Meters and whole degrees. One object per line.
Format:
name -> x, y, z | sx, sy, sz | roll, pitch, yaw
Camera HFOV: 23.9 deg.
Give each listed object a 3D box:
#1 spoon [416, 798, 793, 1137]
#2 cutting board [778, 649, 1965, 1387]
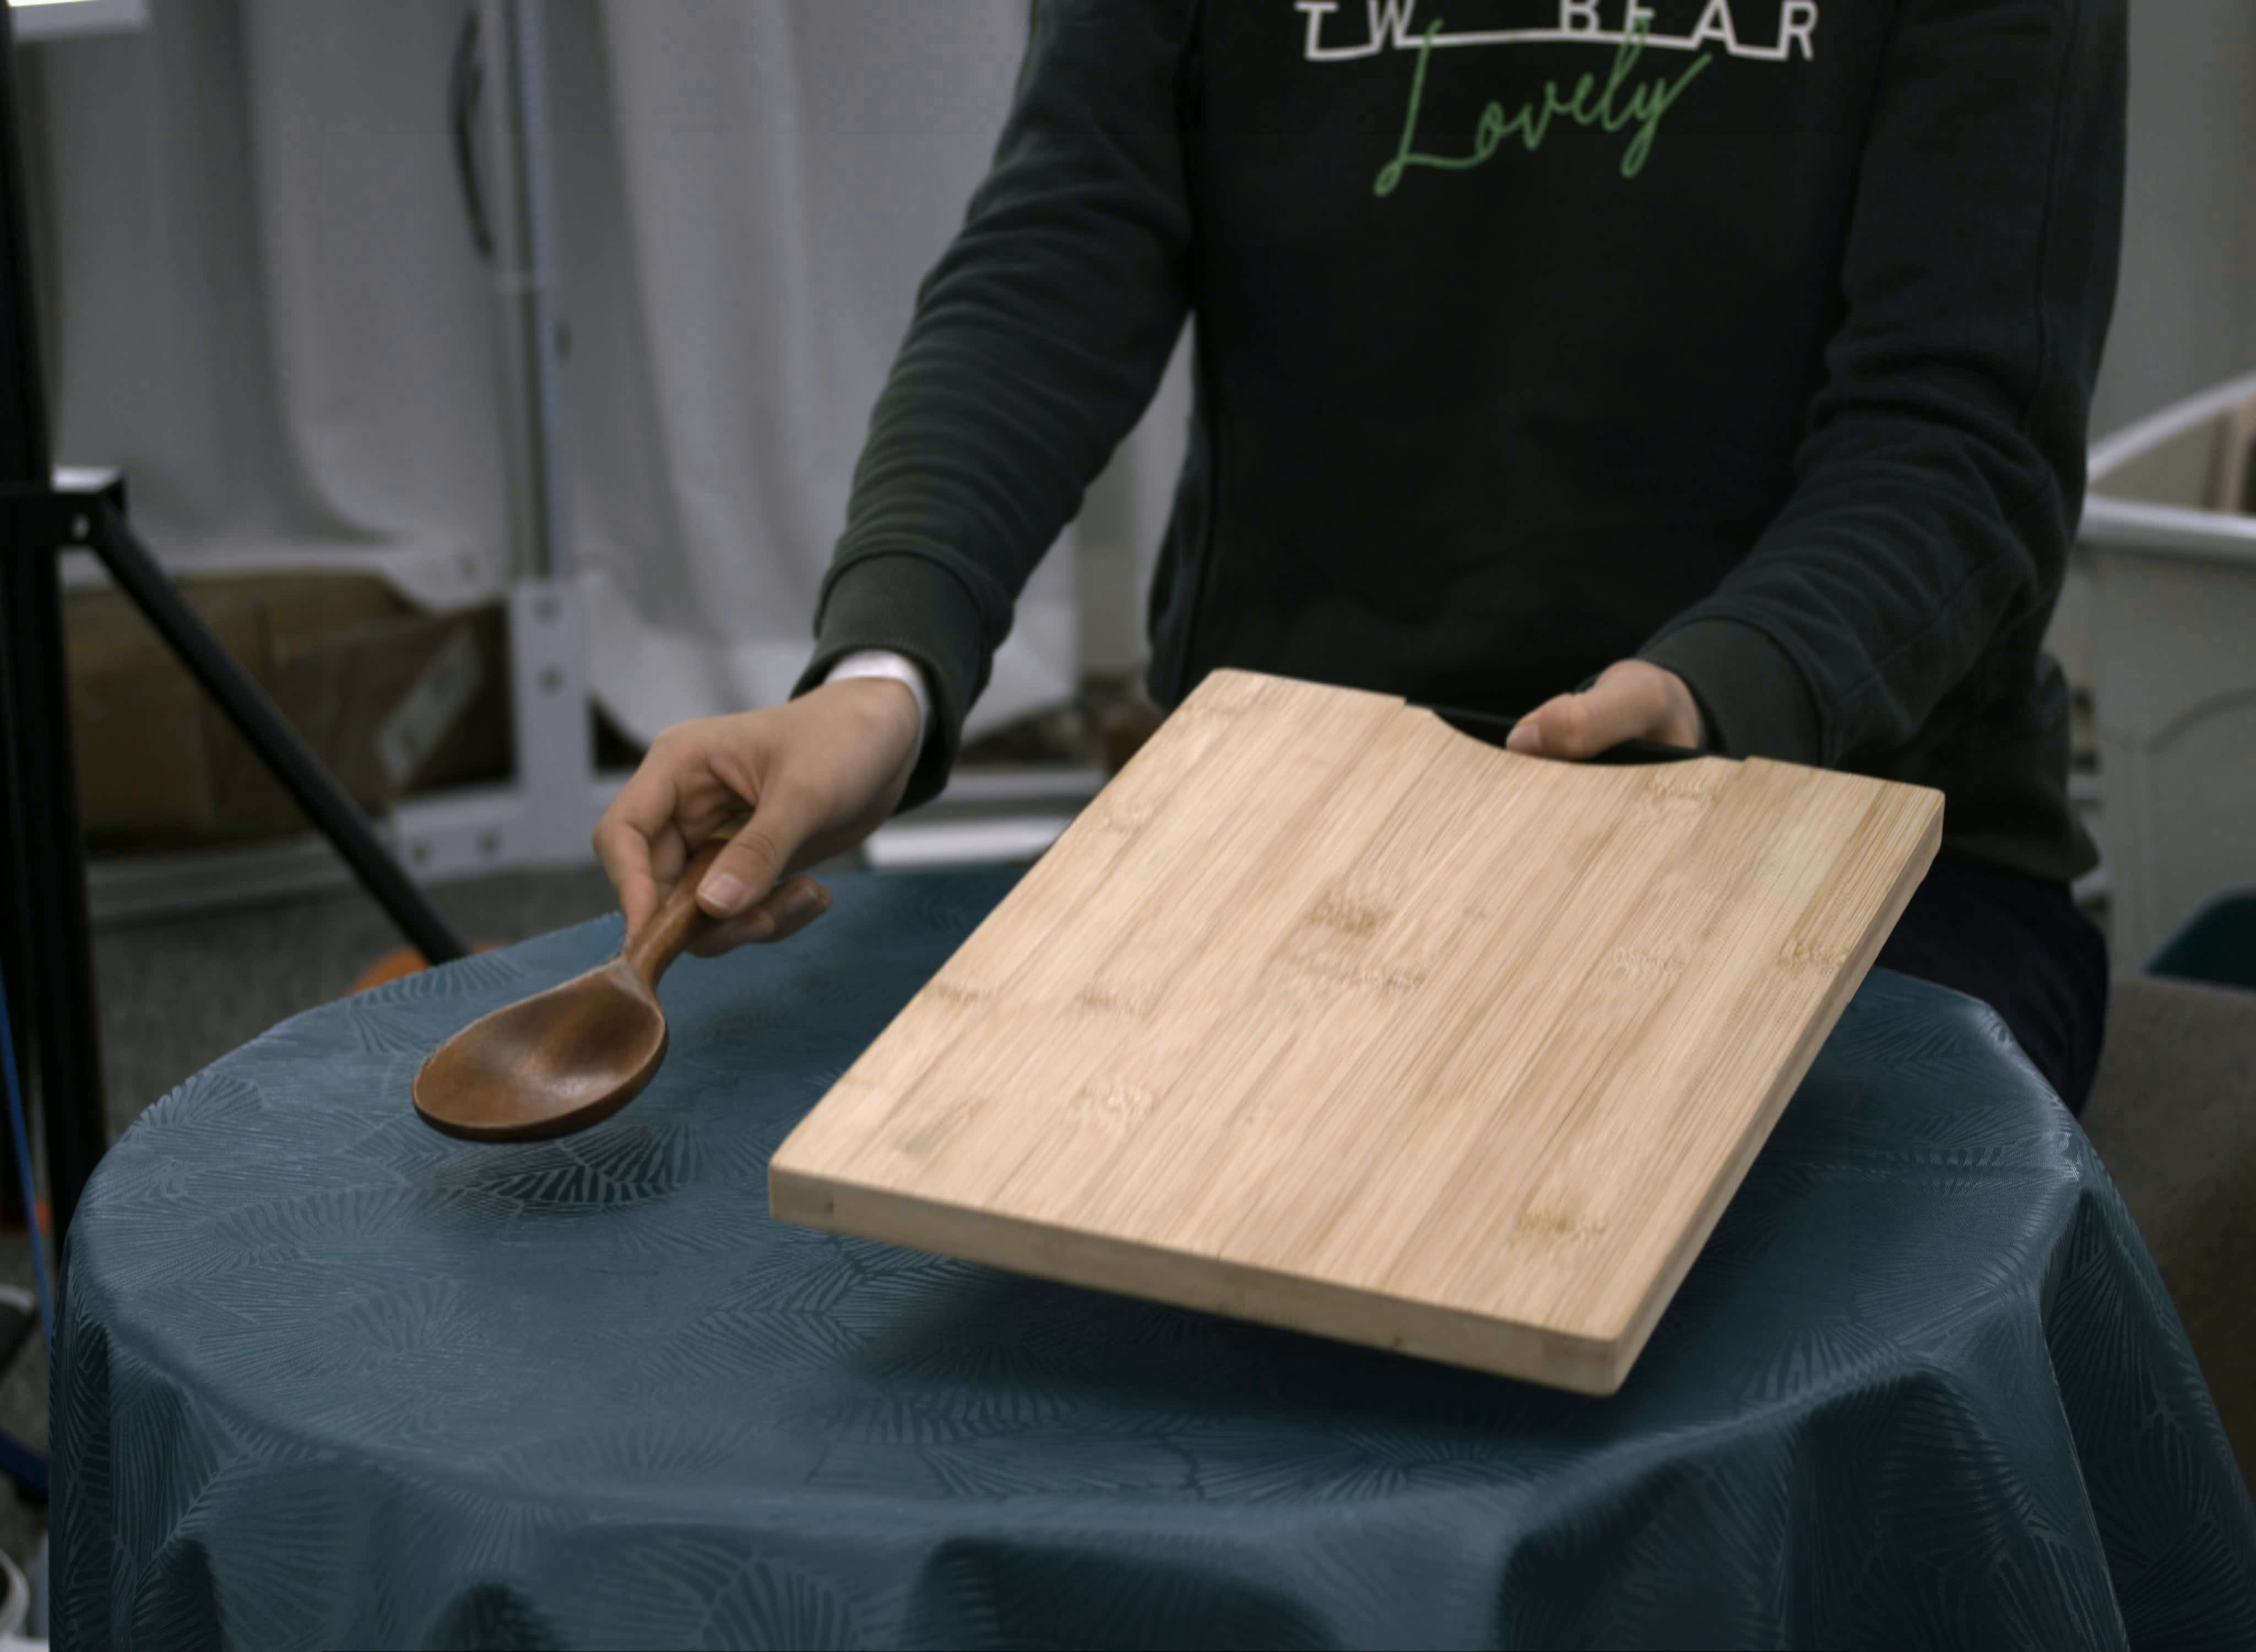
spoon -> -0.152, 0.045, 1.649 | 0.076, 0.017, 0.214 | -2, 26, 23
cutting board -> 0.080, 0.043, 1.524 | 0.254, 0.023, 0.345 | 10, 28, 19
